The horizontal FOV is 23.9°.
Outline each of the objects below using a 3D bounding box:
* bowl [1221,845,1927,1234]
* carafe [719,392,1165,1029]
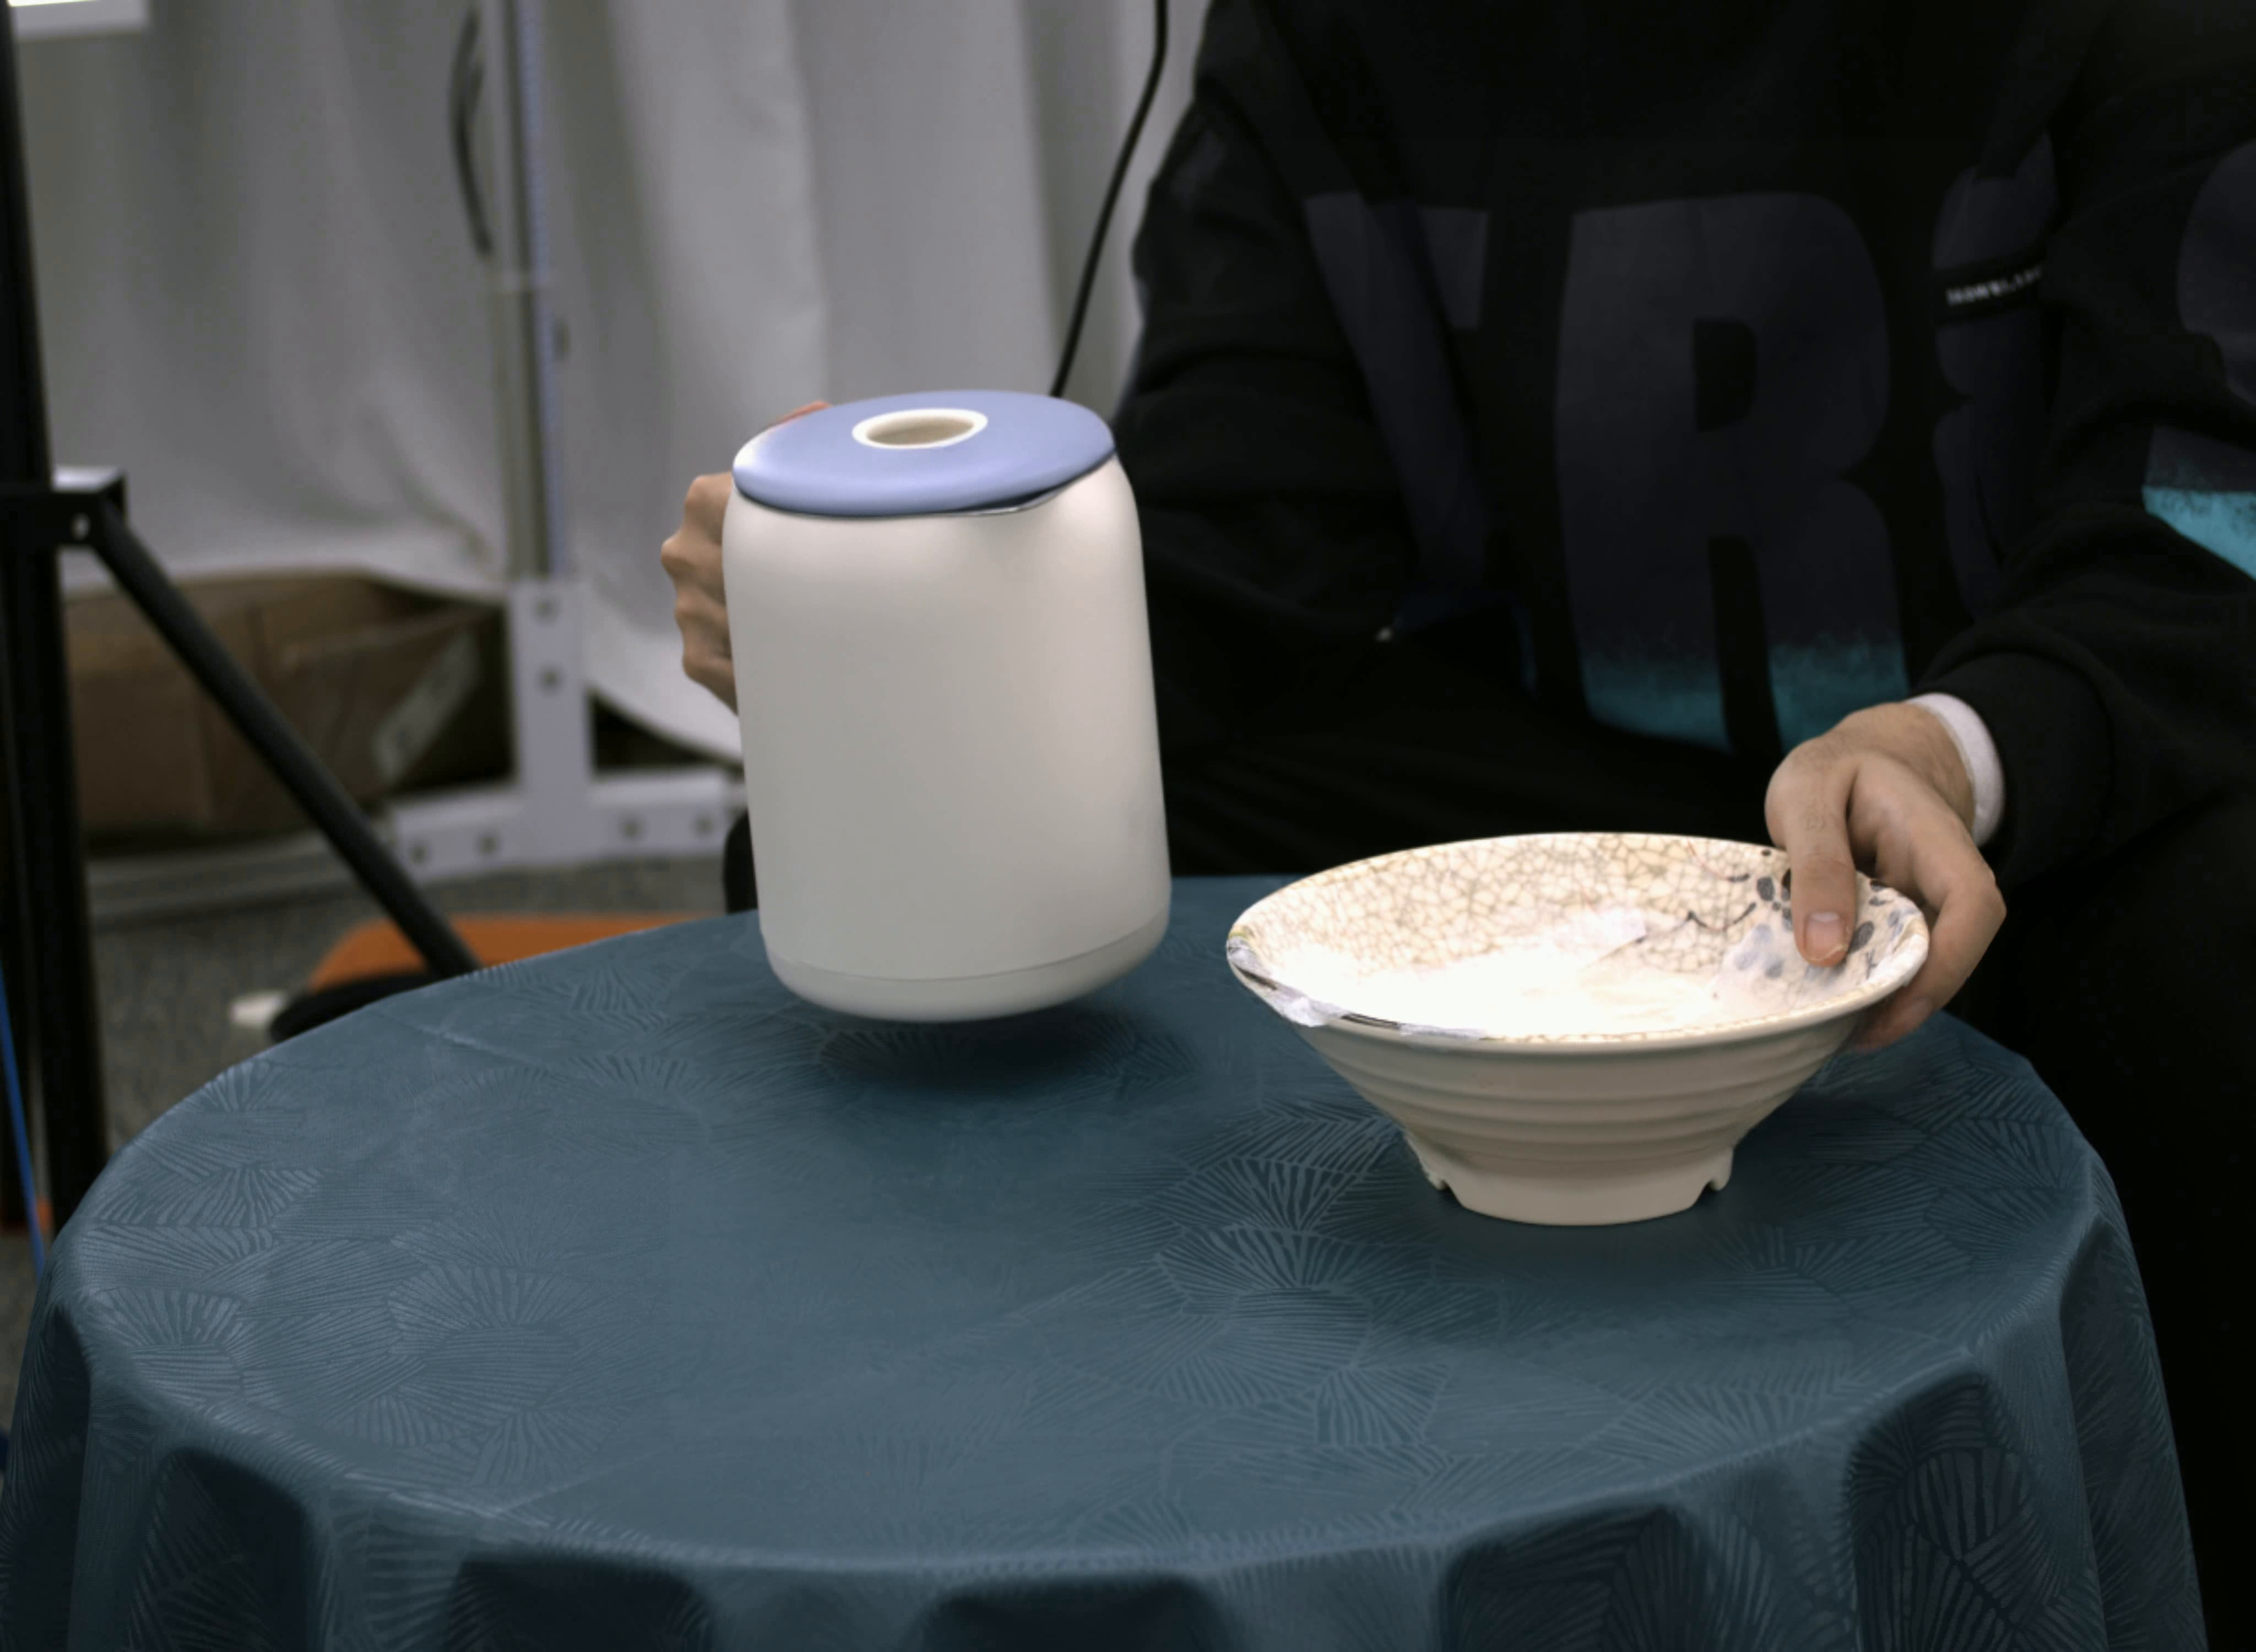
[{"bbox_3d":[0.128,0.068,1.537,0.203,0.078,0.205,-1,14,-1],"label":"bowl"},{"bbox_3d":[-0.070,-0.042,1.693,0.129,0.182,0.195,-13,18,-26],"label":"carafe"}]
